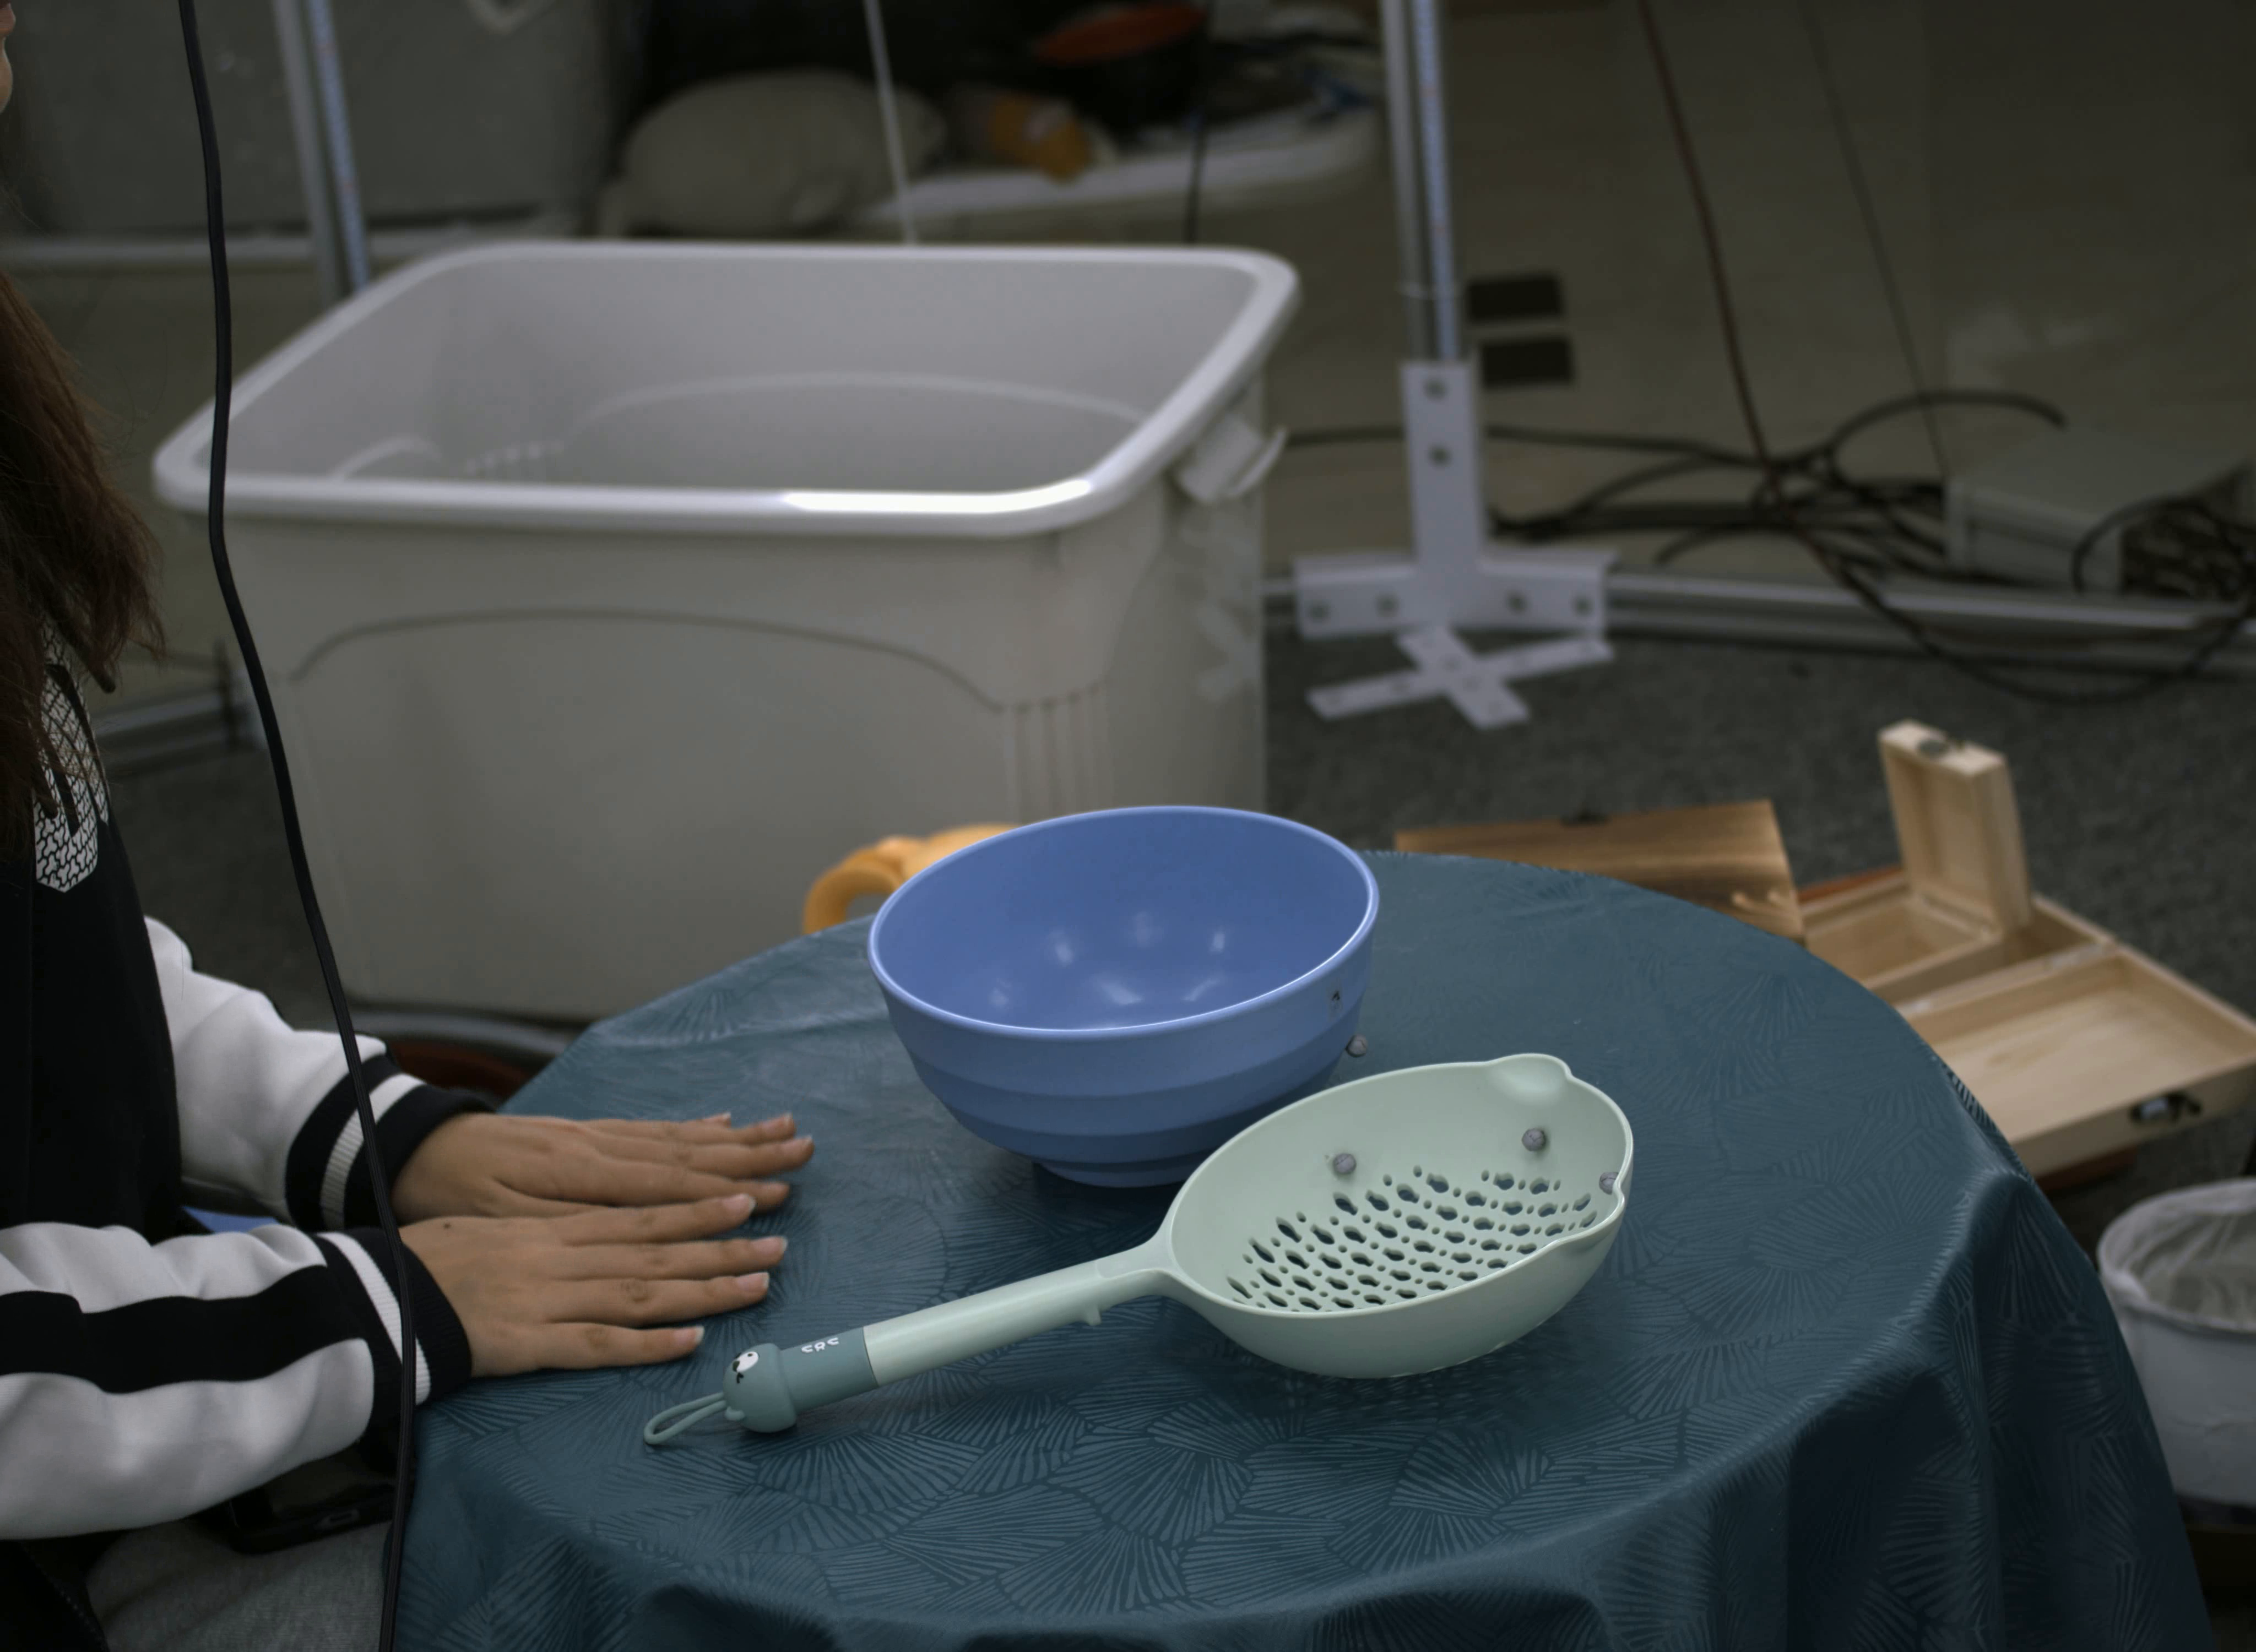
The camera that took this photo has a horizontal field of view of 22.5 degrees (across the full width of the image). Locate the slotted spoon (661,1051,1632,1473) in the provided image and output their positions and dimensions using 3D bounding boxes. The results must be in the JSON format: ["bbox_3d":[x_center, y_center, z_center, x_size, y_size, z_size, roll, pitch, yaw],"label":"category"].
[{"bbox_3d":[0.005,0.167,2.018,0.358,0.076,0.167,-10,24,-2],"label":"slotted spoon"}]

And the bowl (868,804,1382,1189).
[{"bbox_3d":[0.003,0.076,2.169,0.196,0.097,0.193,-5,26,3],"label":"bowl"}]
